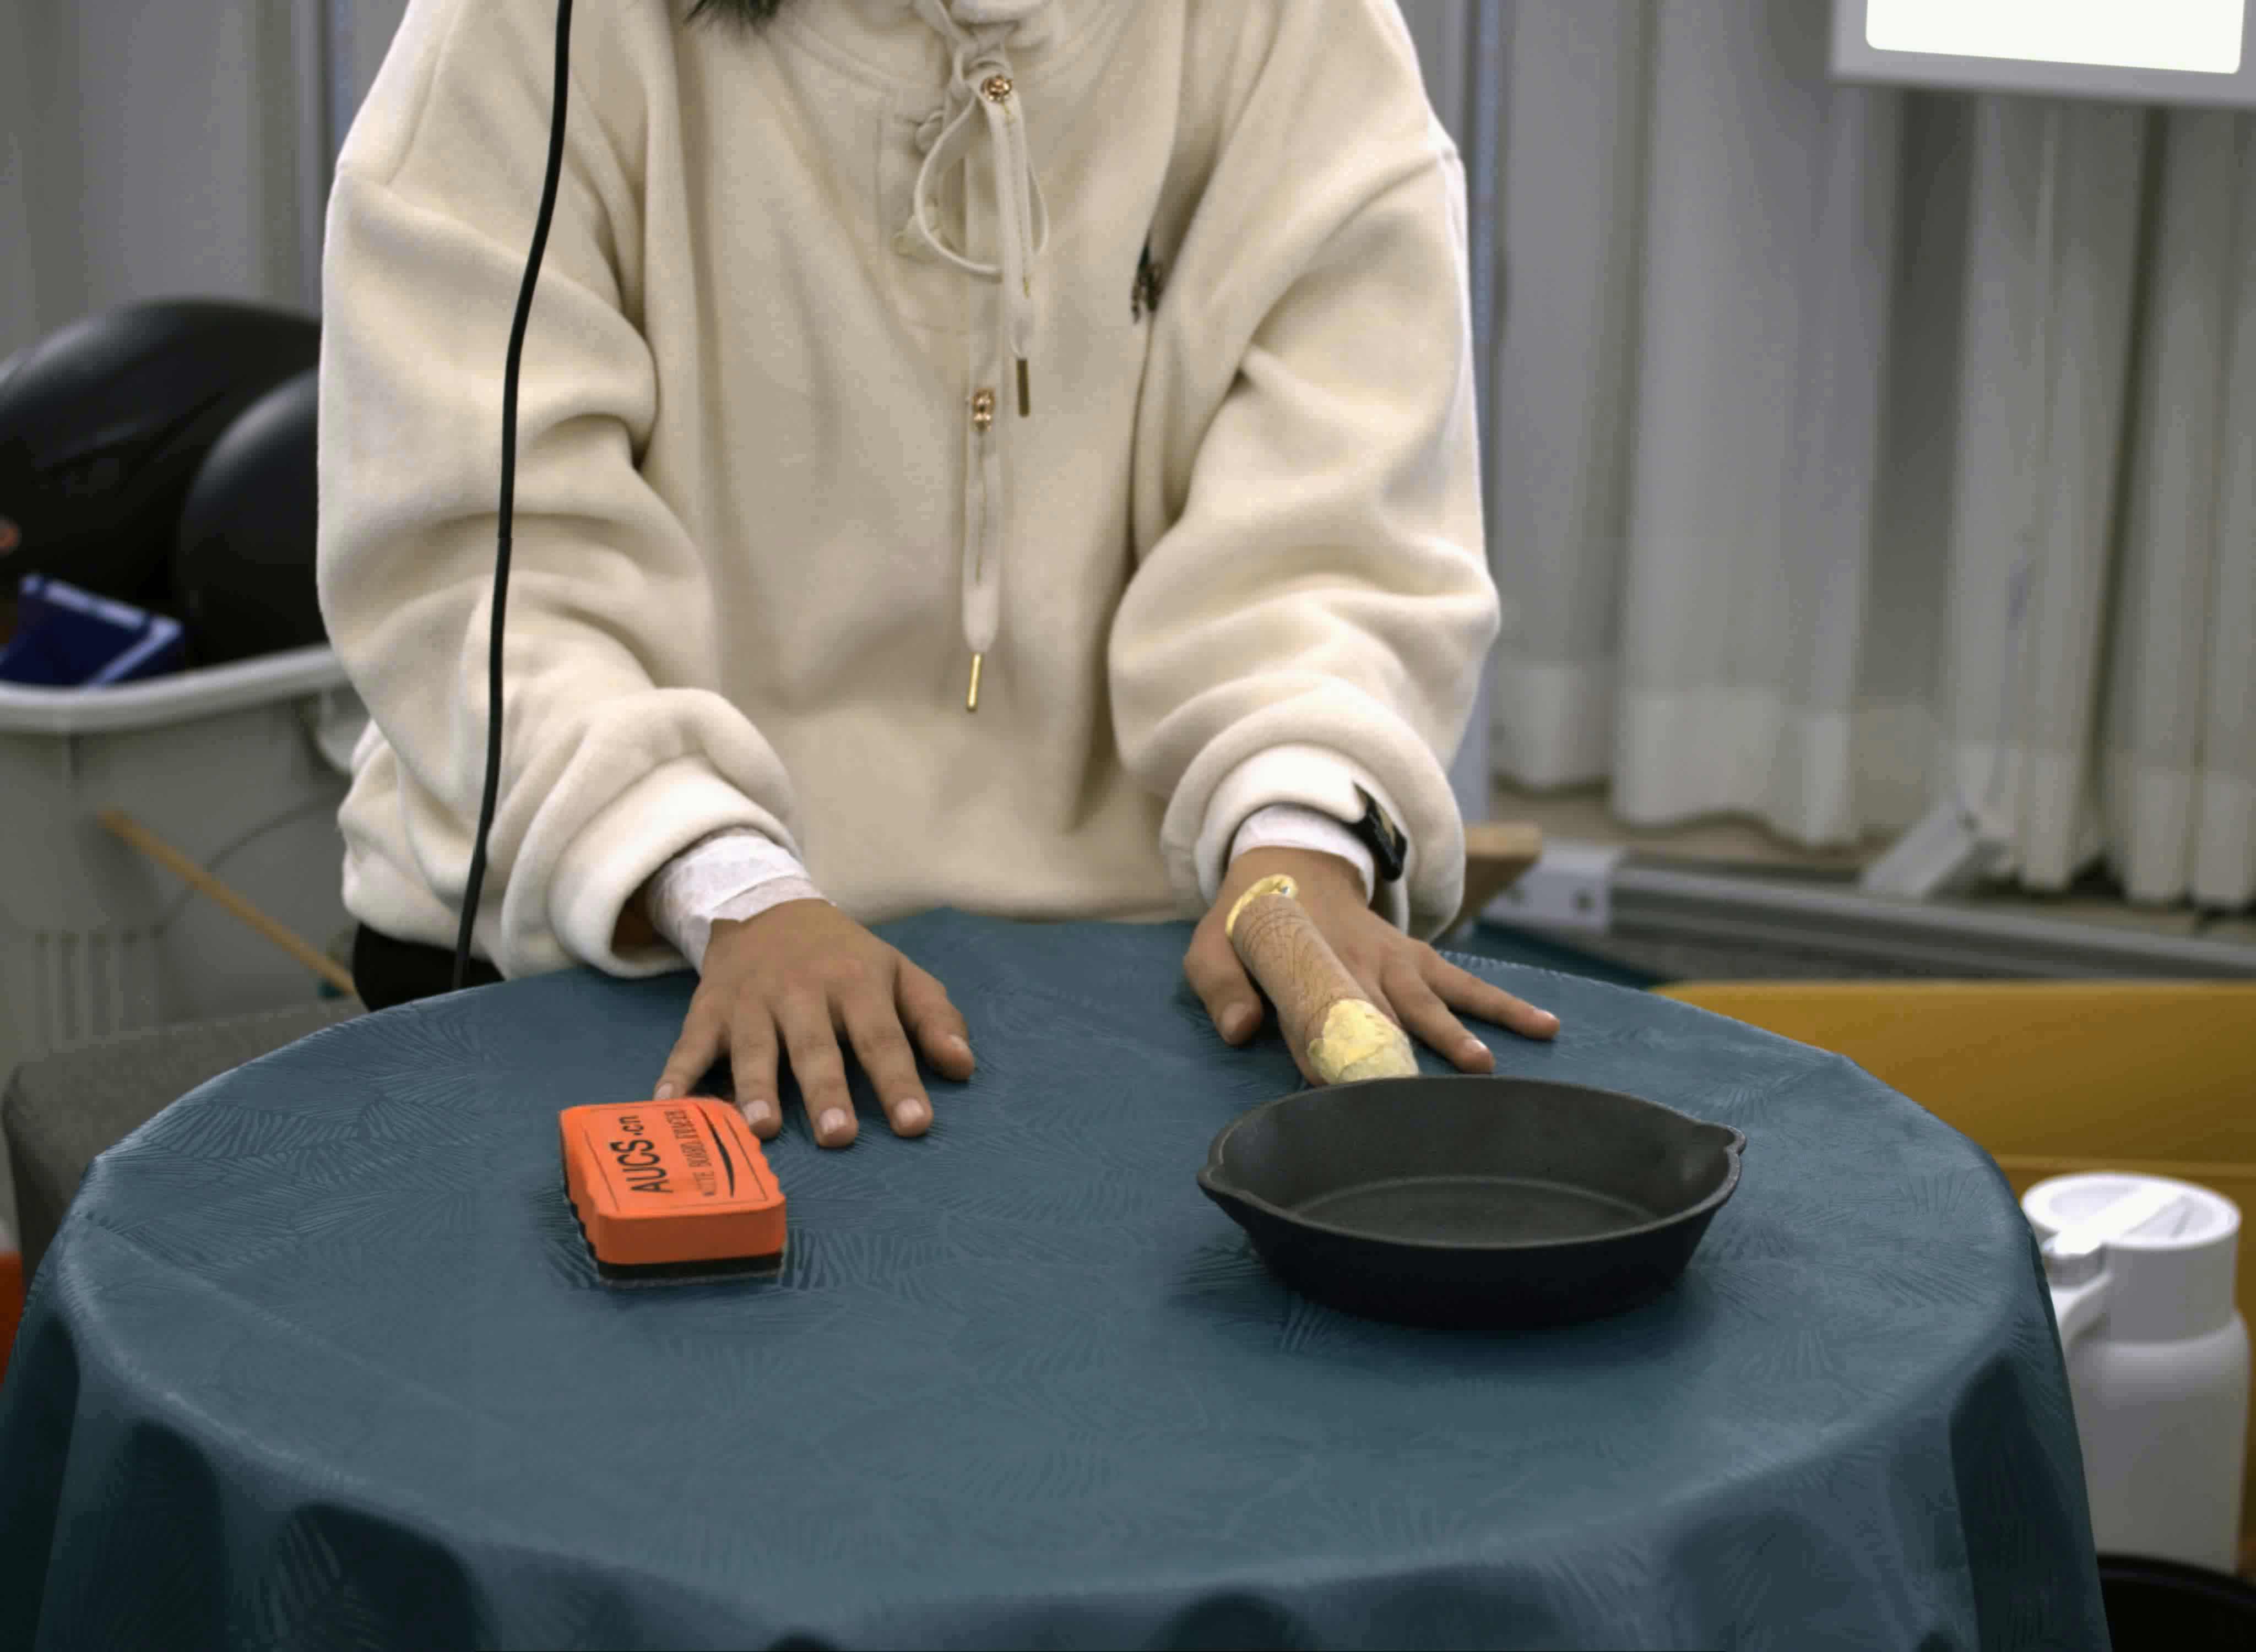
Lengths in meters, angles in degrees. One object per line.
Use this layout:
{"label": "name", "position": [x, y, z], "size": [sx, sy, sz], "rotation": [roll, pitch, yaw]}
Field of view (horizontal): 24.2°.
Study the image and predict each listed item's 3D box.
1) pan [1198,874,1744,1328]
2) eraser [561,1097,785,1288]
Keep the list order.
{"label": "pan", "position": [0.082, 0.082, 1.638], "size": [0.169, 0.050, 0.321], "rotation": [-4, 17, -14]}
{"label": "eraser", "position": [-0.138, 0.109, 1.584], "size": [0.059, 0.023, 0.107], "rotation": [-3, 16, -12]}
